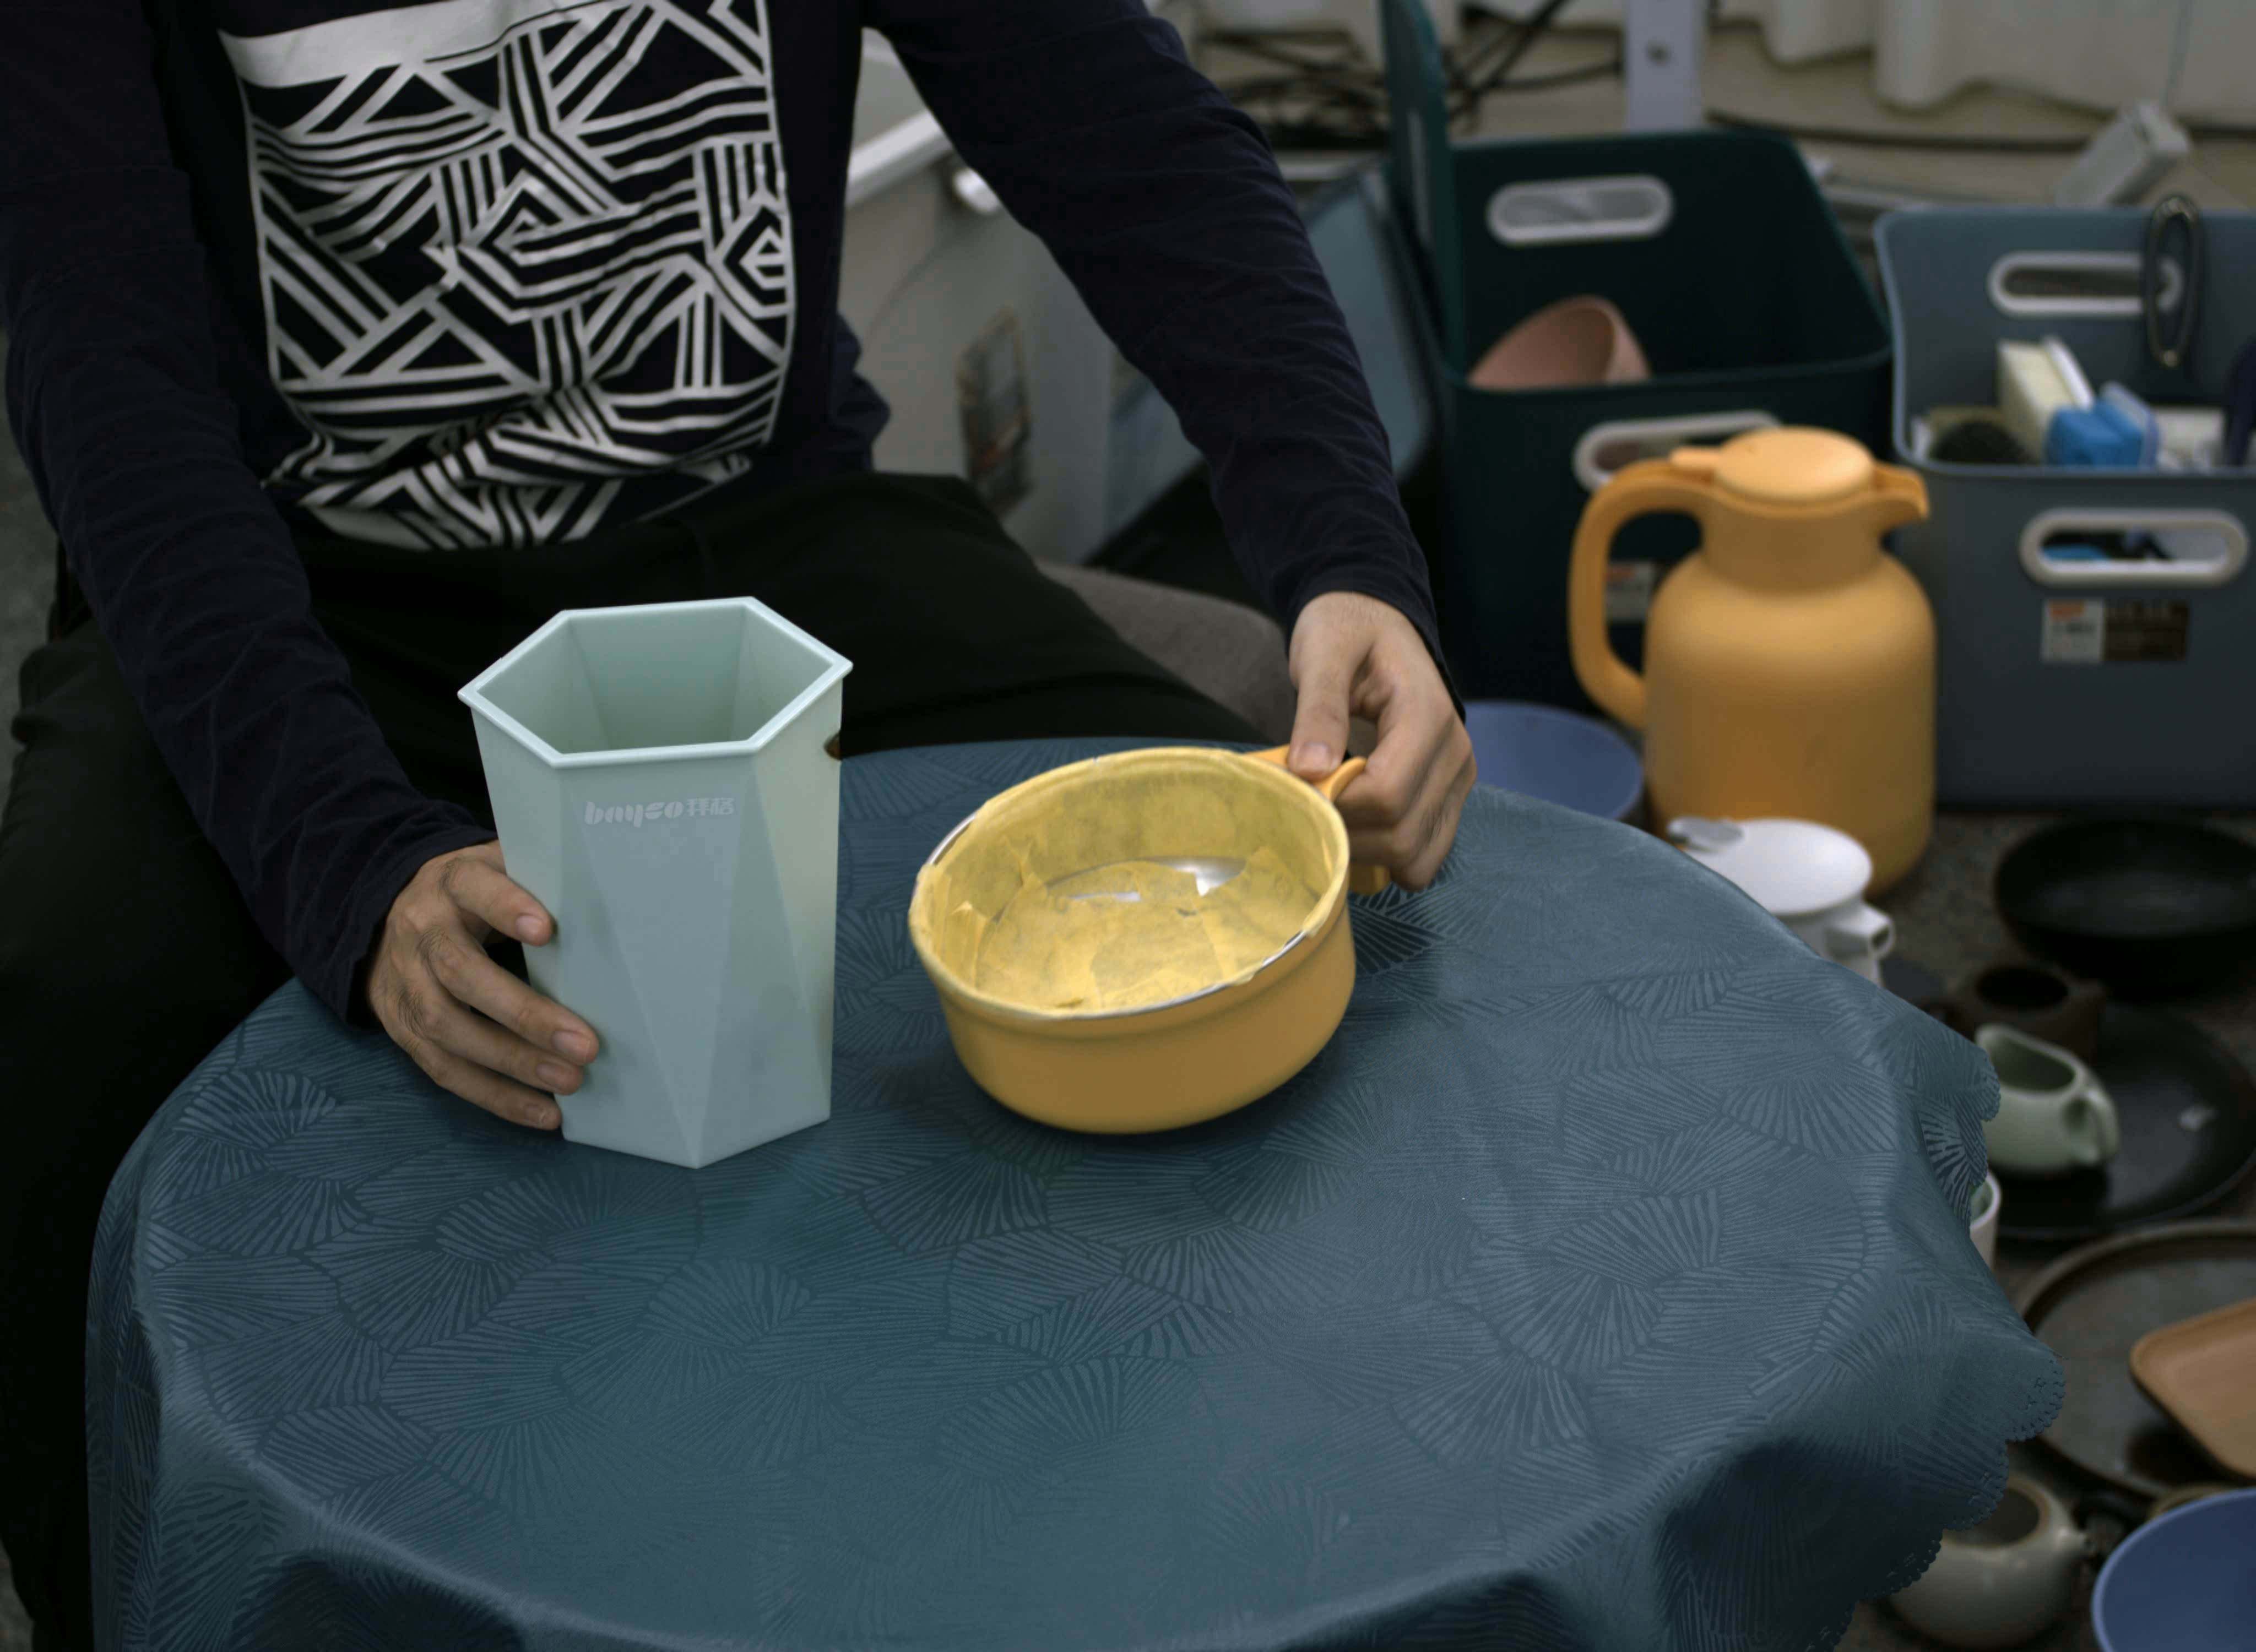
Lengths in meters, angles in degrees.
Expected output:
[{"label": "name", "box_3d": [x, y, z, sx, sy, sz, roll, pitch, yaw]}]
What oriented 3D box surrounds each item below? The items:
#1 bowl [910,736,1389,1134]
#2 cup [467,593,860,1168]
[{"label": "bowl", "box_3d": [0.017, 0.036, 1.923, 0.152, 0.073, 0.182, 19, 45, 41]}, {"label": "cup", "box_3d": [-0.150, 0.020, 1.894, 0.130, 0.161, 0.116, -4, 25, -4]}]
